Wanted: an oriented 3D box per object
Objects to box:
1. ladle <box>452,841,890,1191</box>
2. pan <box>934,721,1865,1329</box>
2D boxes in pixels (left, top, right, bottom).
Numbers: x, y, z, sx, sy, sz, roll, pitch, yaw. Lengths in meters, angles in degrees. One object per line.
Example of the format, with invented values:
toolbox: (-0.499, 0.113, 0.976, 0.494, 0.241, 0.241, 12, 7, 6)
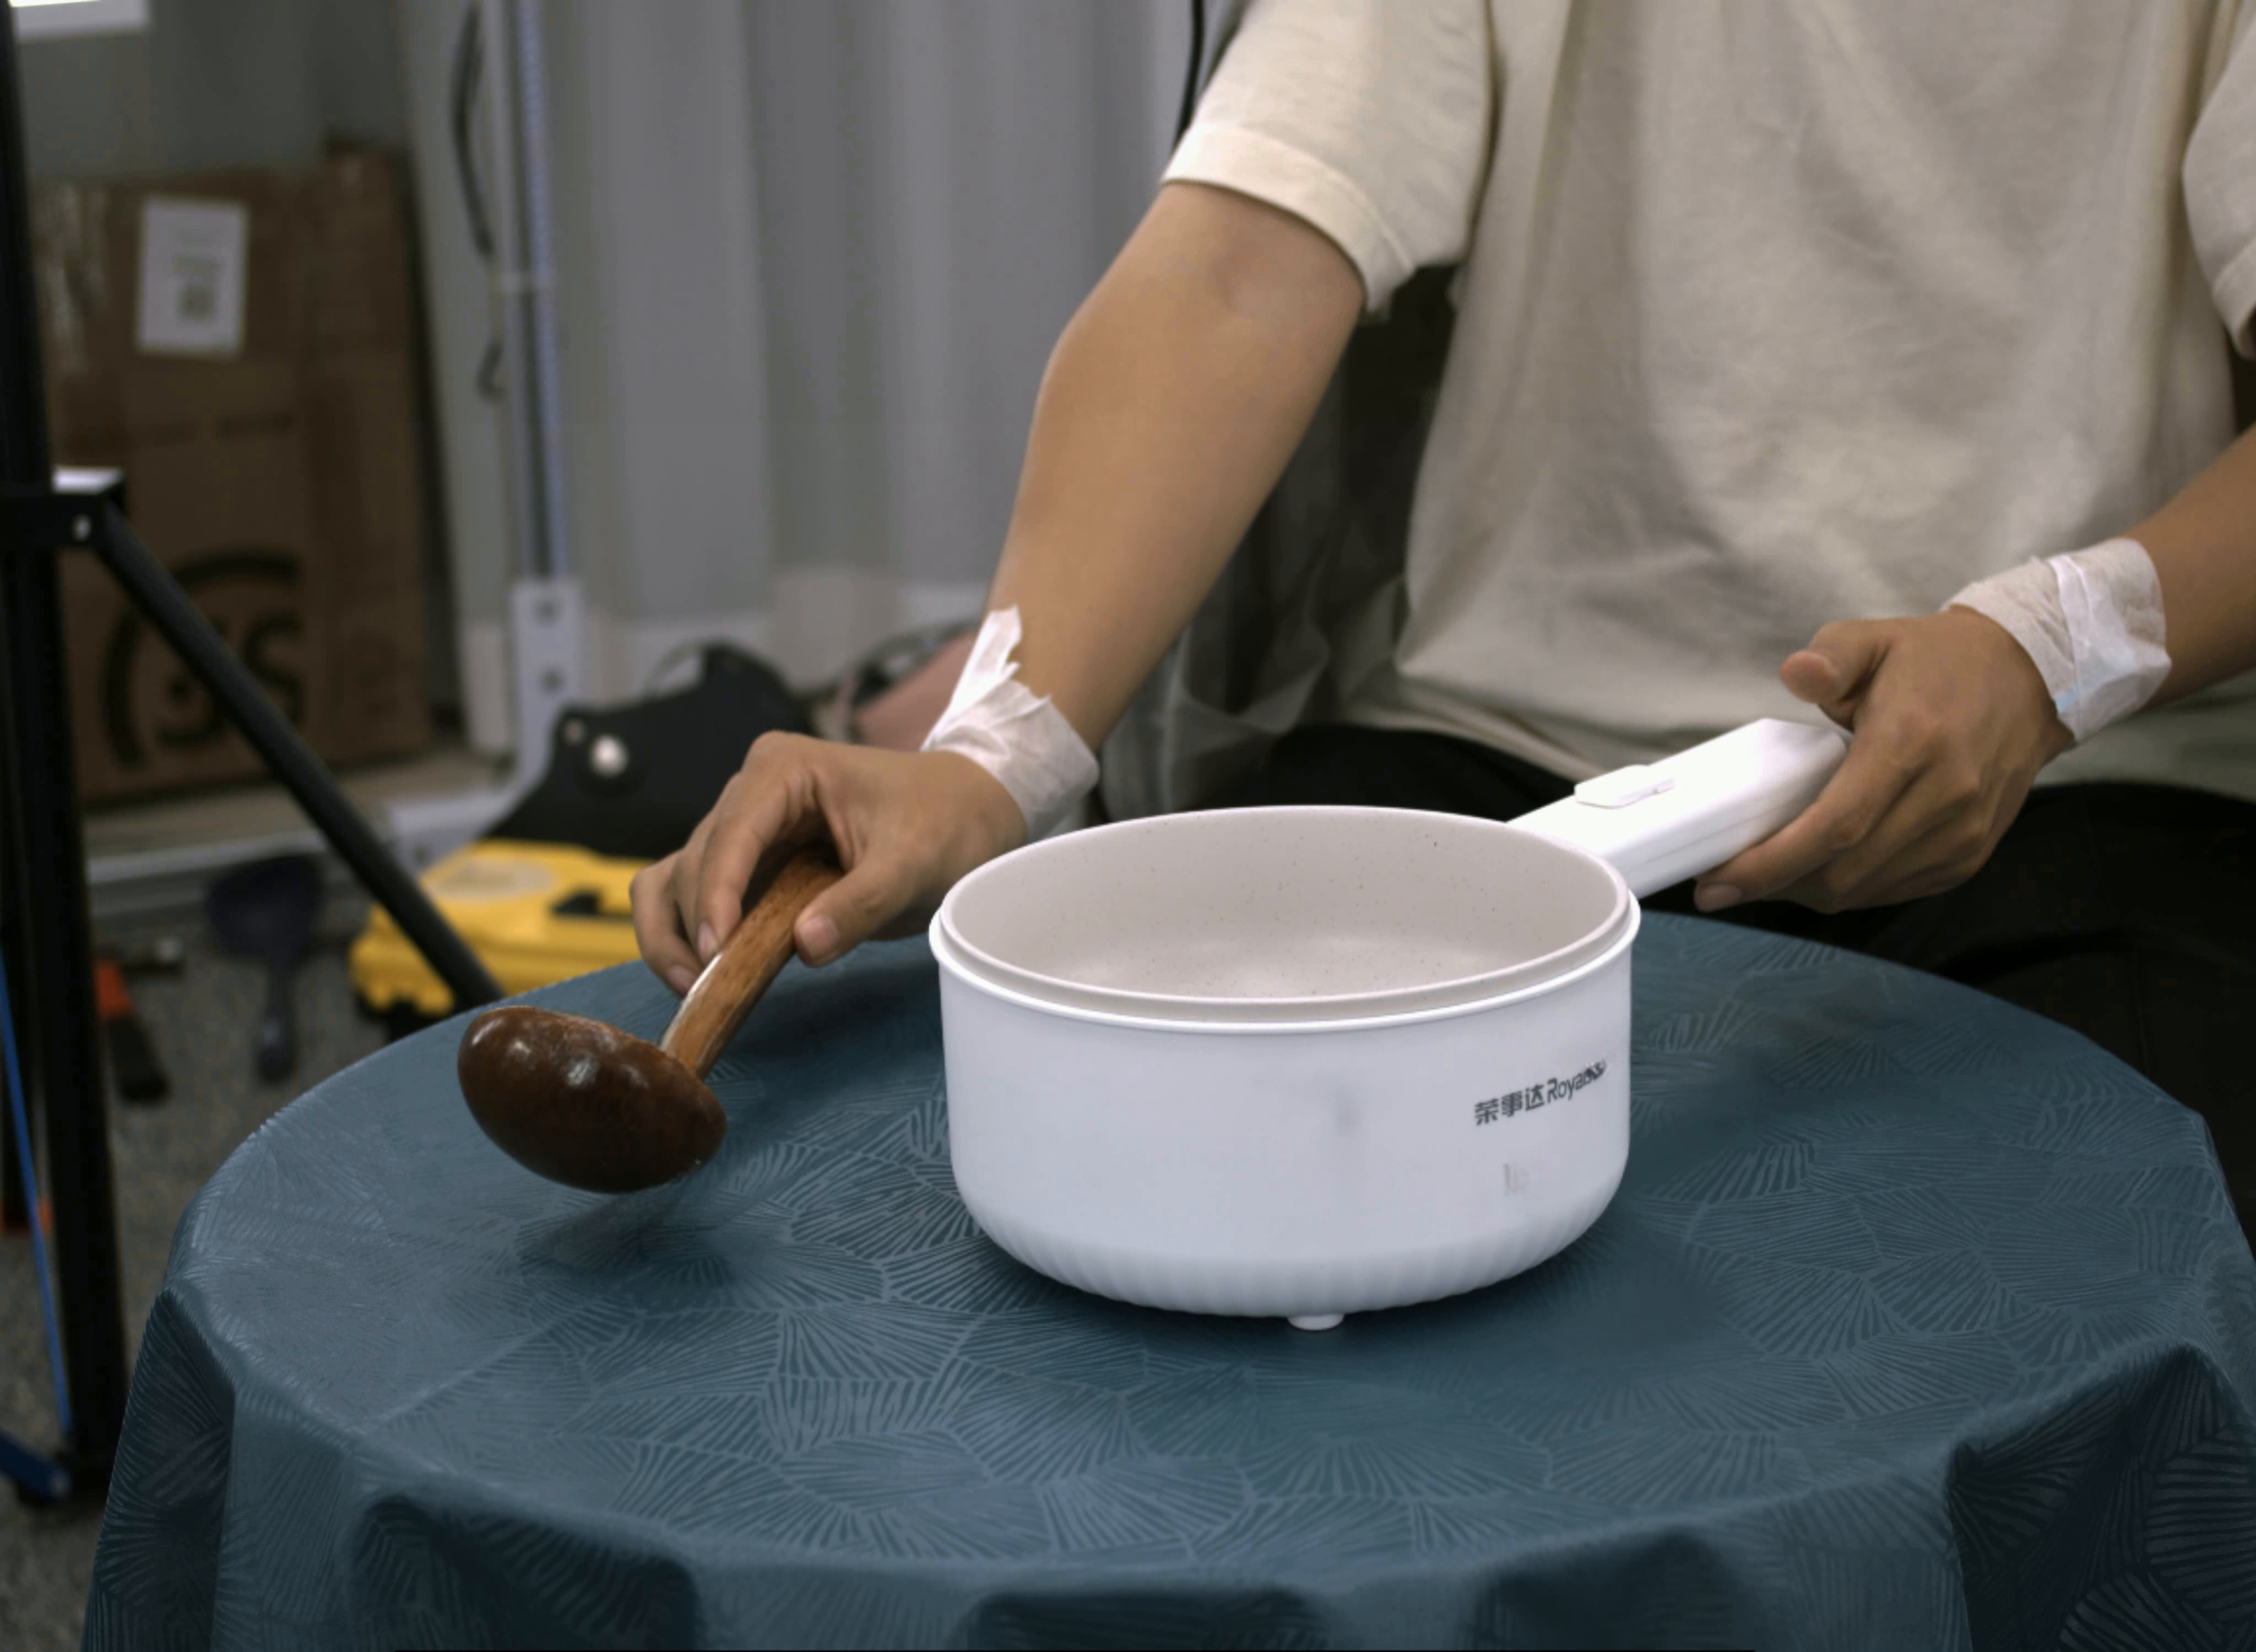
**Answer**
ladle: (-0.124, 0.036, 1.613, 0.082, 0.077, 0.272, 21, 29, 9)
pan: (0.098, 0.052, 1.557, 0.206, 0.102, 0.347, 11, 20, 42)
